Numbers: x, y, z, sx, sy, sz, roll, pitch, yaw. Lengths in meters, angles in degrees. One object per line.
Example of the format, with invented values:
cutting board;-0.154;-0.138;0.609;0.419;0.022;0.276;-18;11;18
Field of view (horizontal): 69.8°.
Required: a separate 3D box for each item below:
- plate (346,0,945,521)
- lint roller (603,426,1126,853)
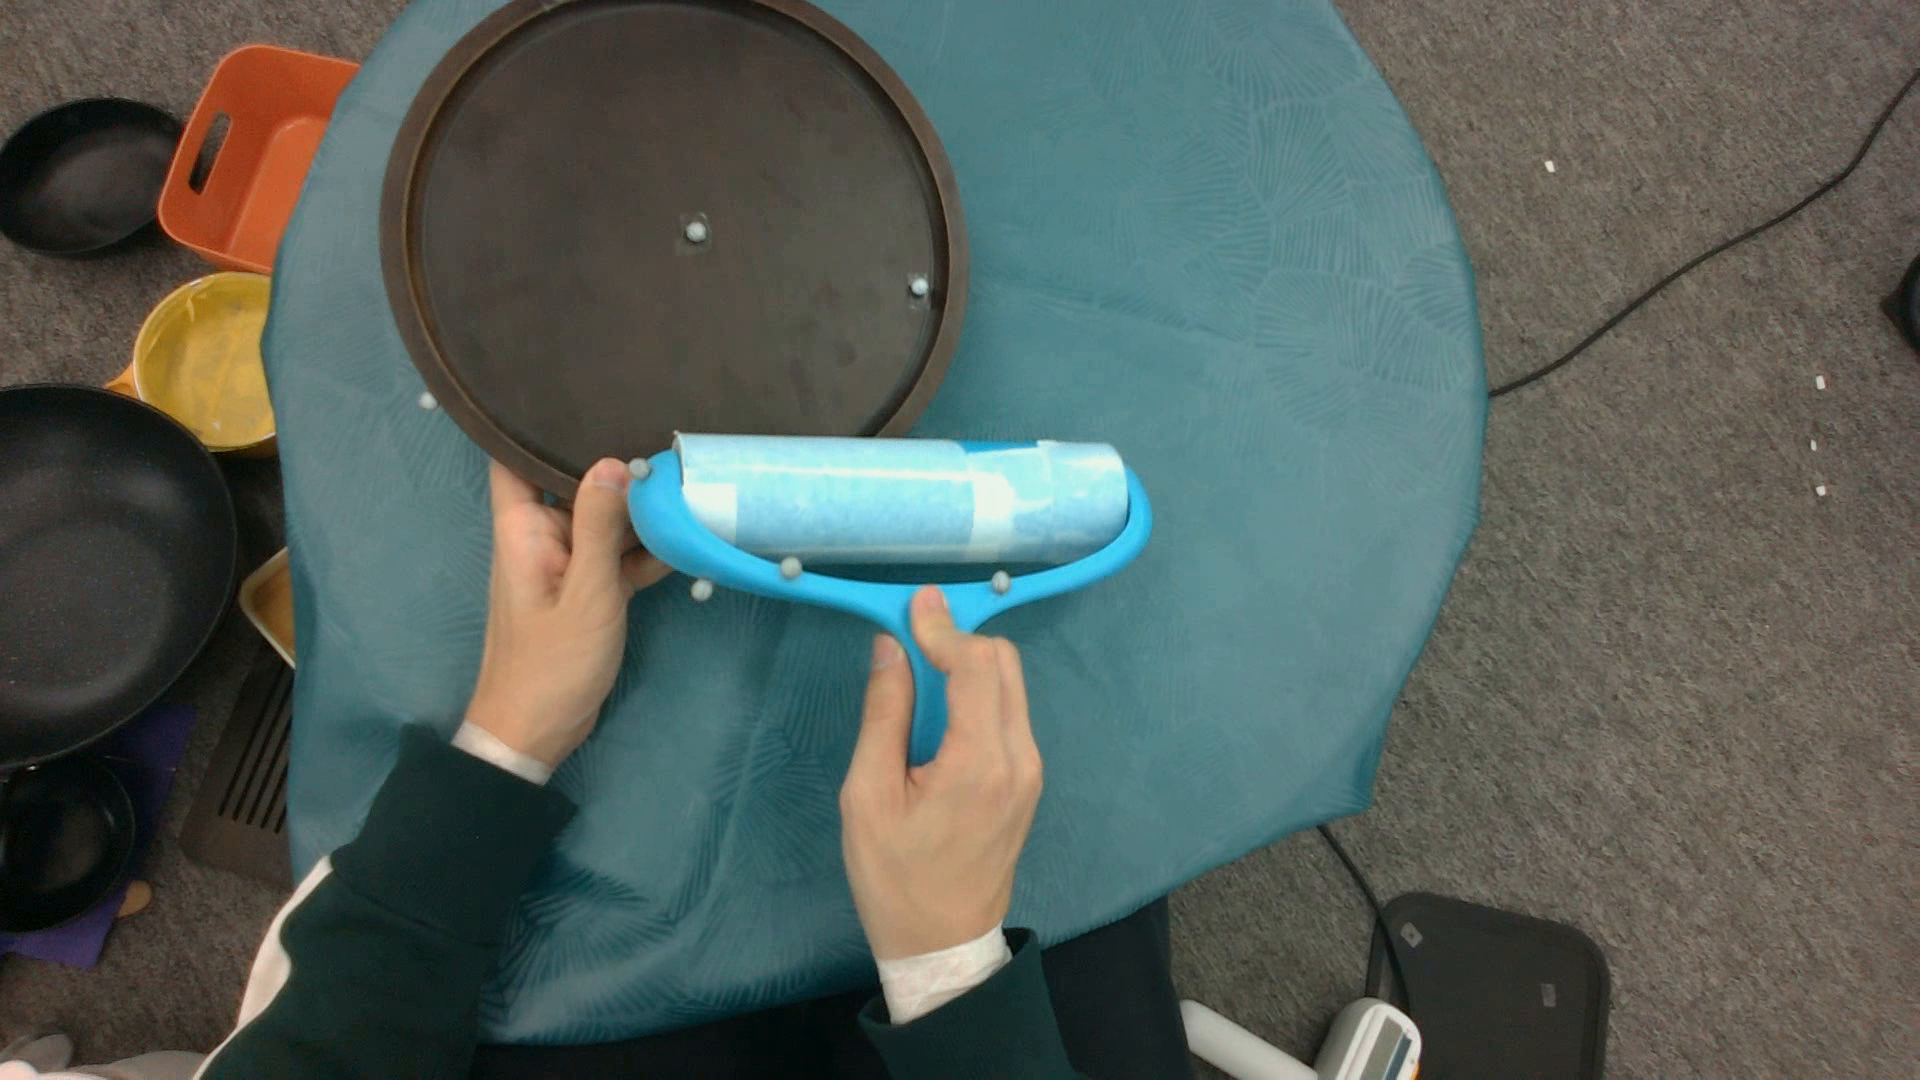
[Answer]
plate;-0.134;-0.132;0.610;0.255;0.029;0.255;2;83;-14
lint roller;-0.024;0.037;0.577;0.229;0.067;0.180;-5;74;-24
